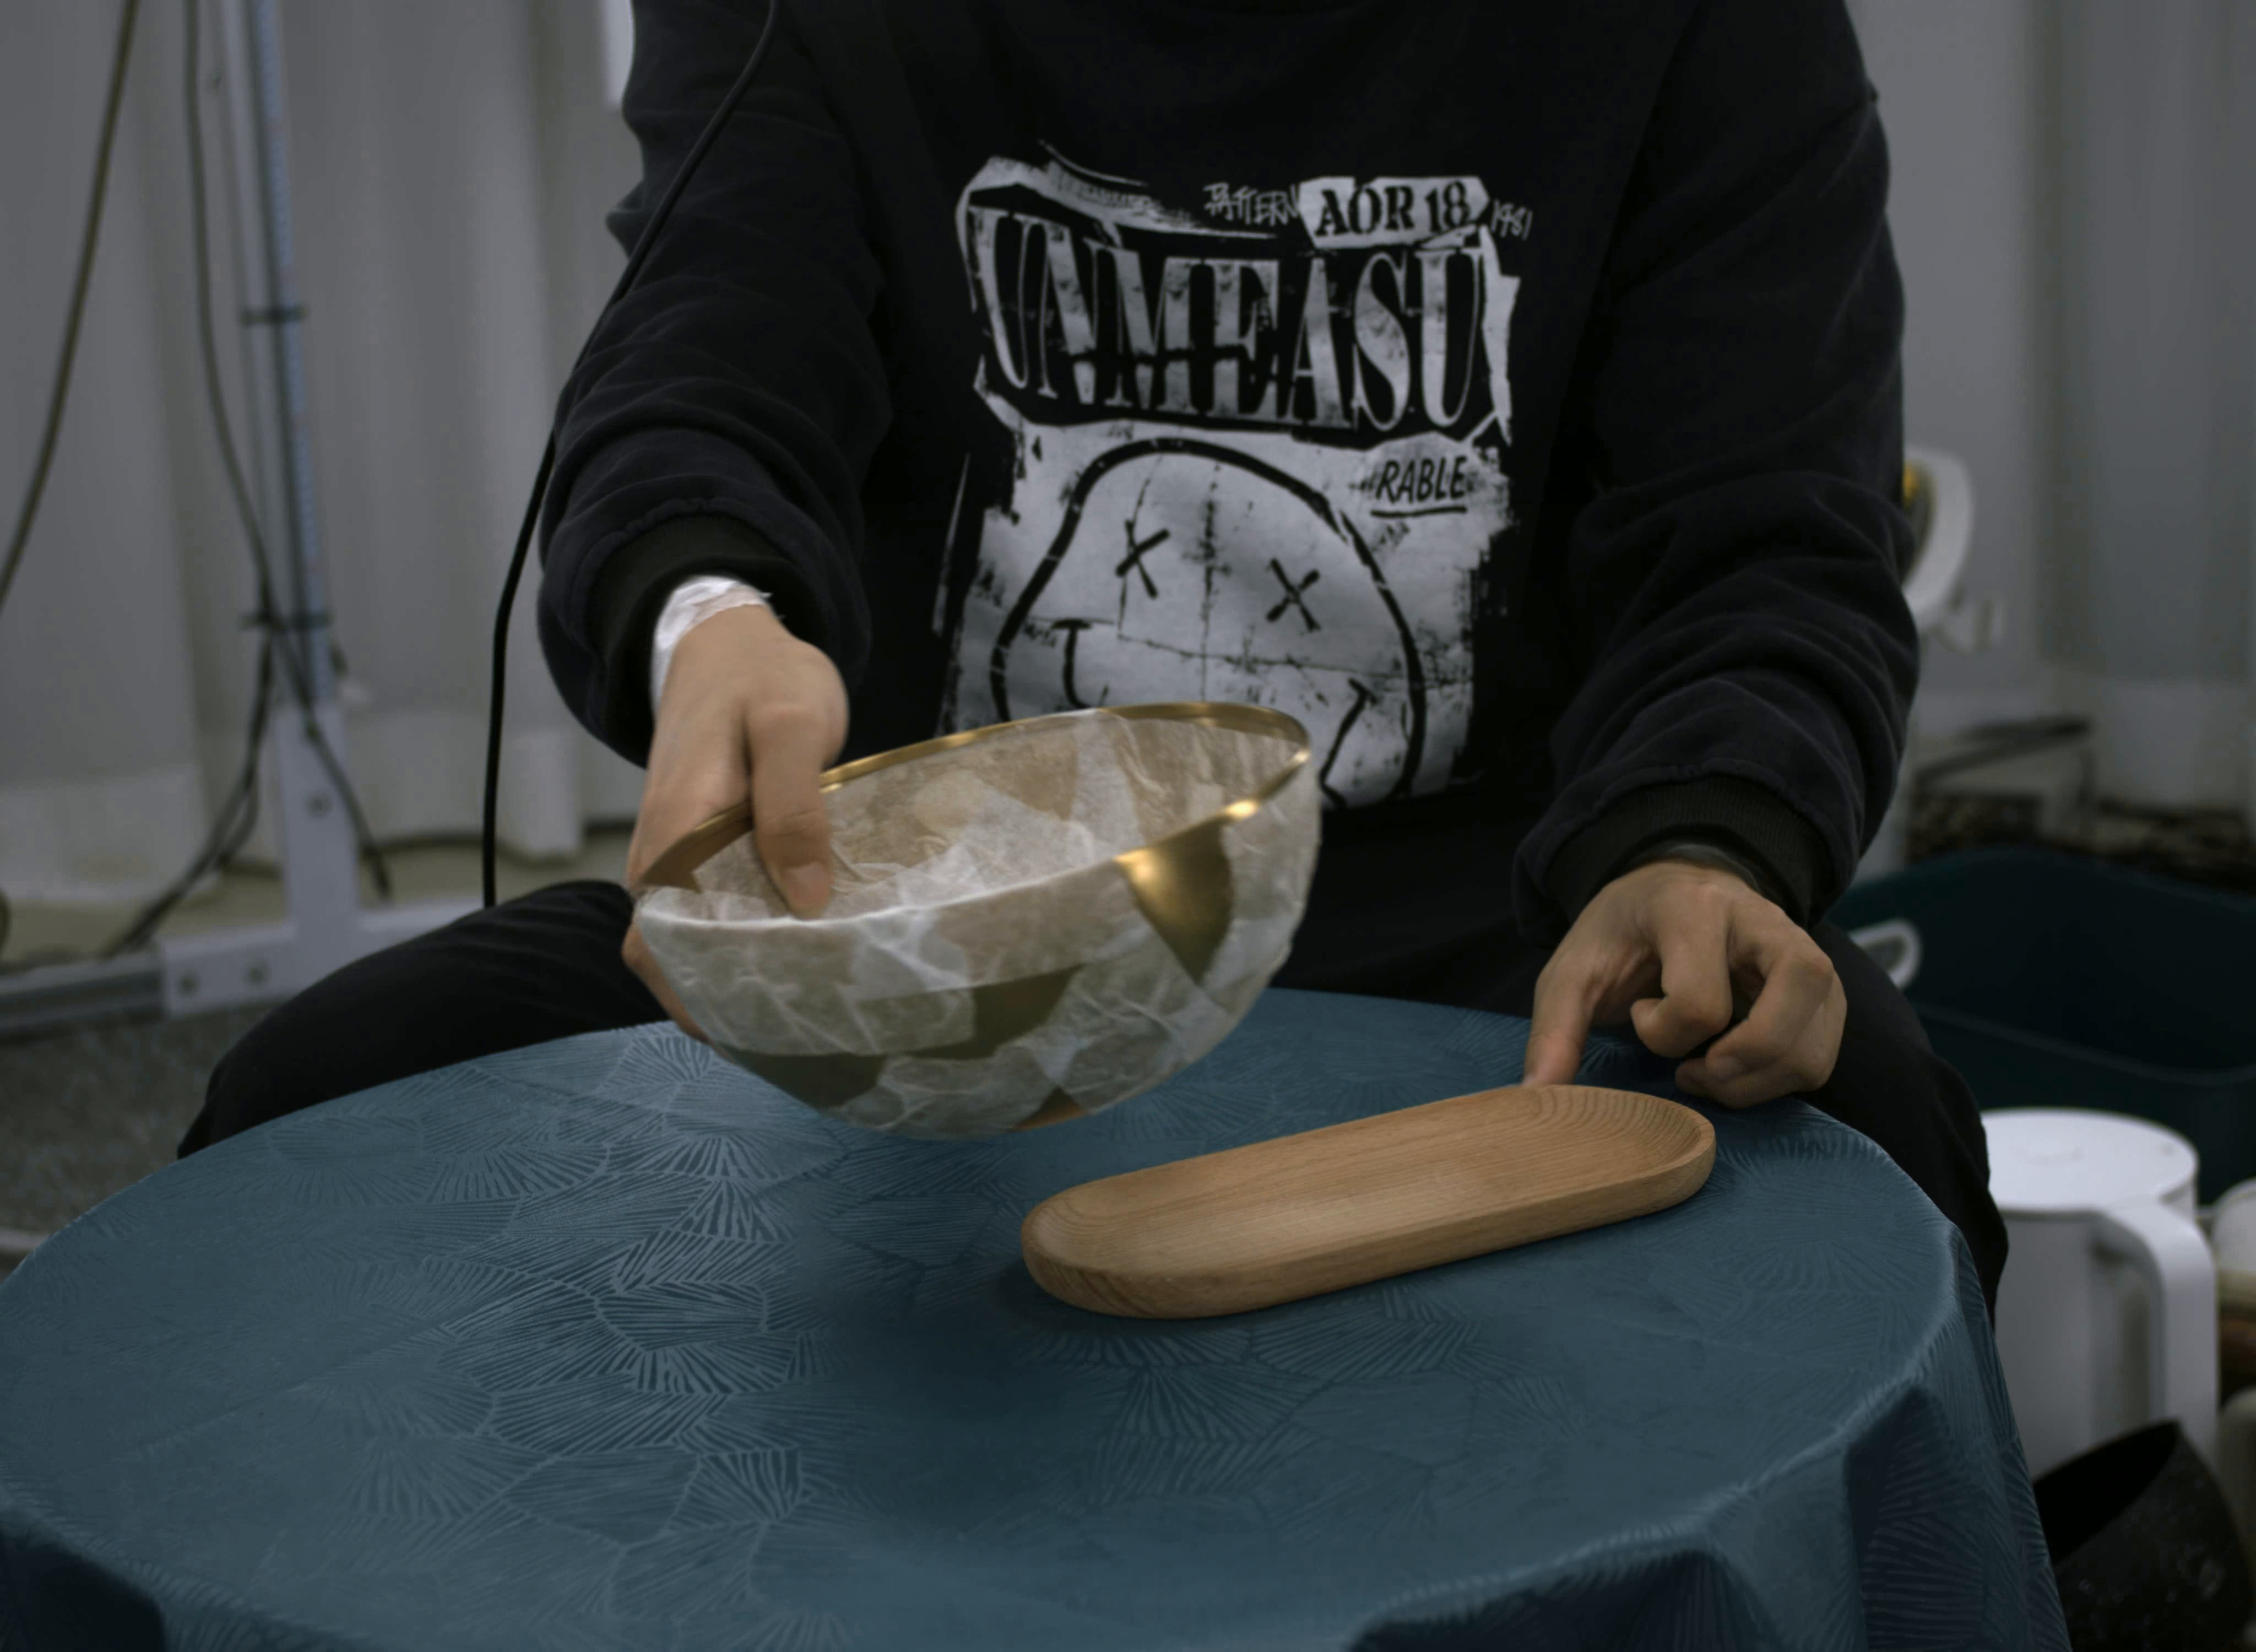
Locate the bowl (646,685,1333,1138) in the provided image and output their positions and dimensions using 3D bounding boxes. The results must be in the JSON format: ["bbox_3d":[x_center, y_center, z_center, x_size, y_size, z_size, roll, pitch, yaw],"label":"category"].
[{"bbox_3d":[-0.029,0.034,1.590,0.214,0.094,0.216,-13,14,3],"label":"bowl"}]

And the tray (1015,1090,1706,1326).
[{"bbox_3d":[0.073,0.116,1.667,0.230,0.020,0.102,-13,16,-28],"label":"tray"}]
